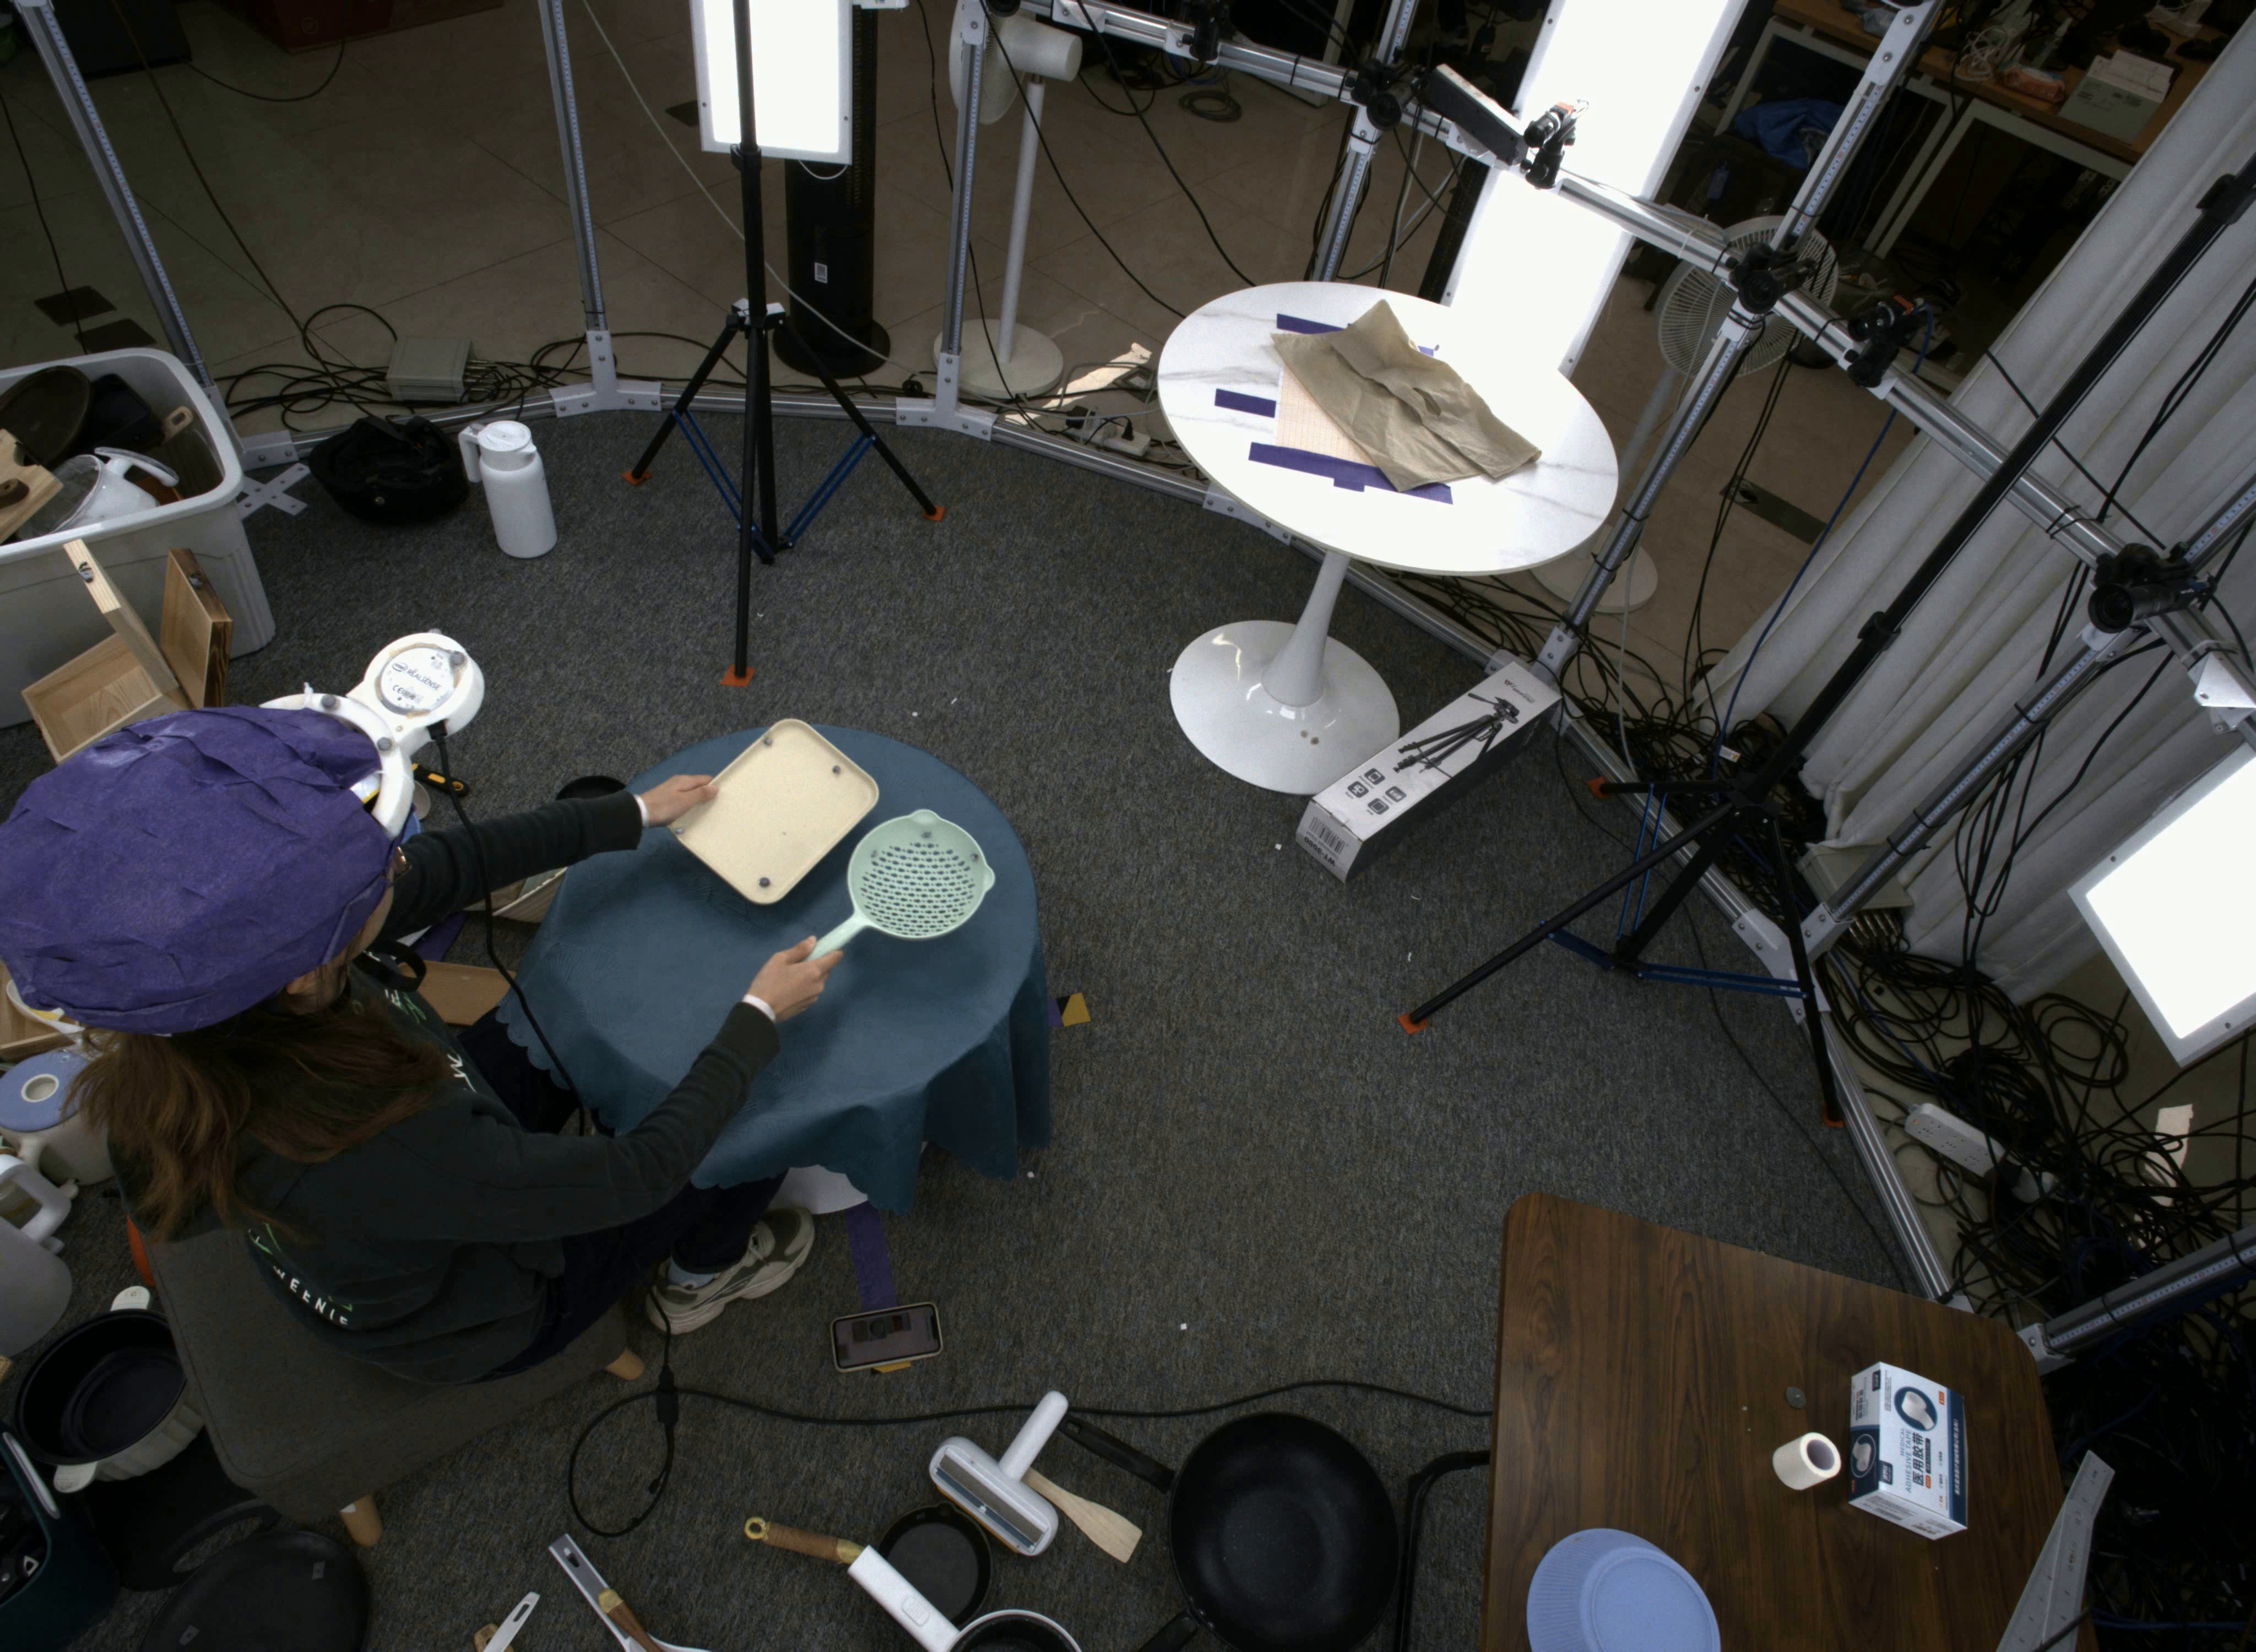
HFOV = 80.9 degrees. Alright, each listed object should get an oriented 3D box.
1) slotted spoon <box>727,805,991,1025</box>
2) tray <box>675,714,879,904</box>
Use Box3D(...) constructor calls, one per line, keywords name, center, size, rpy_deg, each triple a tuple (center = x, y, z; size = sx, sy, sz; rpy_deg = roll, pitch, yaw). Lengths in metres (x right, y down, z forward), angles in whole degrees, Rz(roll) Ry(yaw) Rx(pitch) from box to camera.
Box3D(name="slotted spoon", center=(-0.329, 0.115, 1.555), size=(0.166, 0.076, 0.359), rpy_deg=(44, 54, 14))
Box3D(name="tray", center=(-0.446, -0.024, 1.653), size=(0.171, 0.017, 0.239), rpy_deg=(39, 57, -3))
